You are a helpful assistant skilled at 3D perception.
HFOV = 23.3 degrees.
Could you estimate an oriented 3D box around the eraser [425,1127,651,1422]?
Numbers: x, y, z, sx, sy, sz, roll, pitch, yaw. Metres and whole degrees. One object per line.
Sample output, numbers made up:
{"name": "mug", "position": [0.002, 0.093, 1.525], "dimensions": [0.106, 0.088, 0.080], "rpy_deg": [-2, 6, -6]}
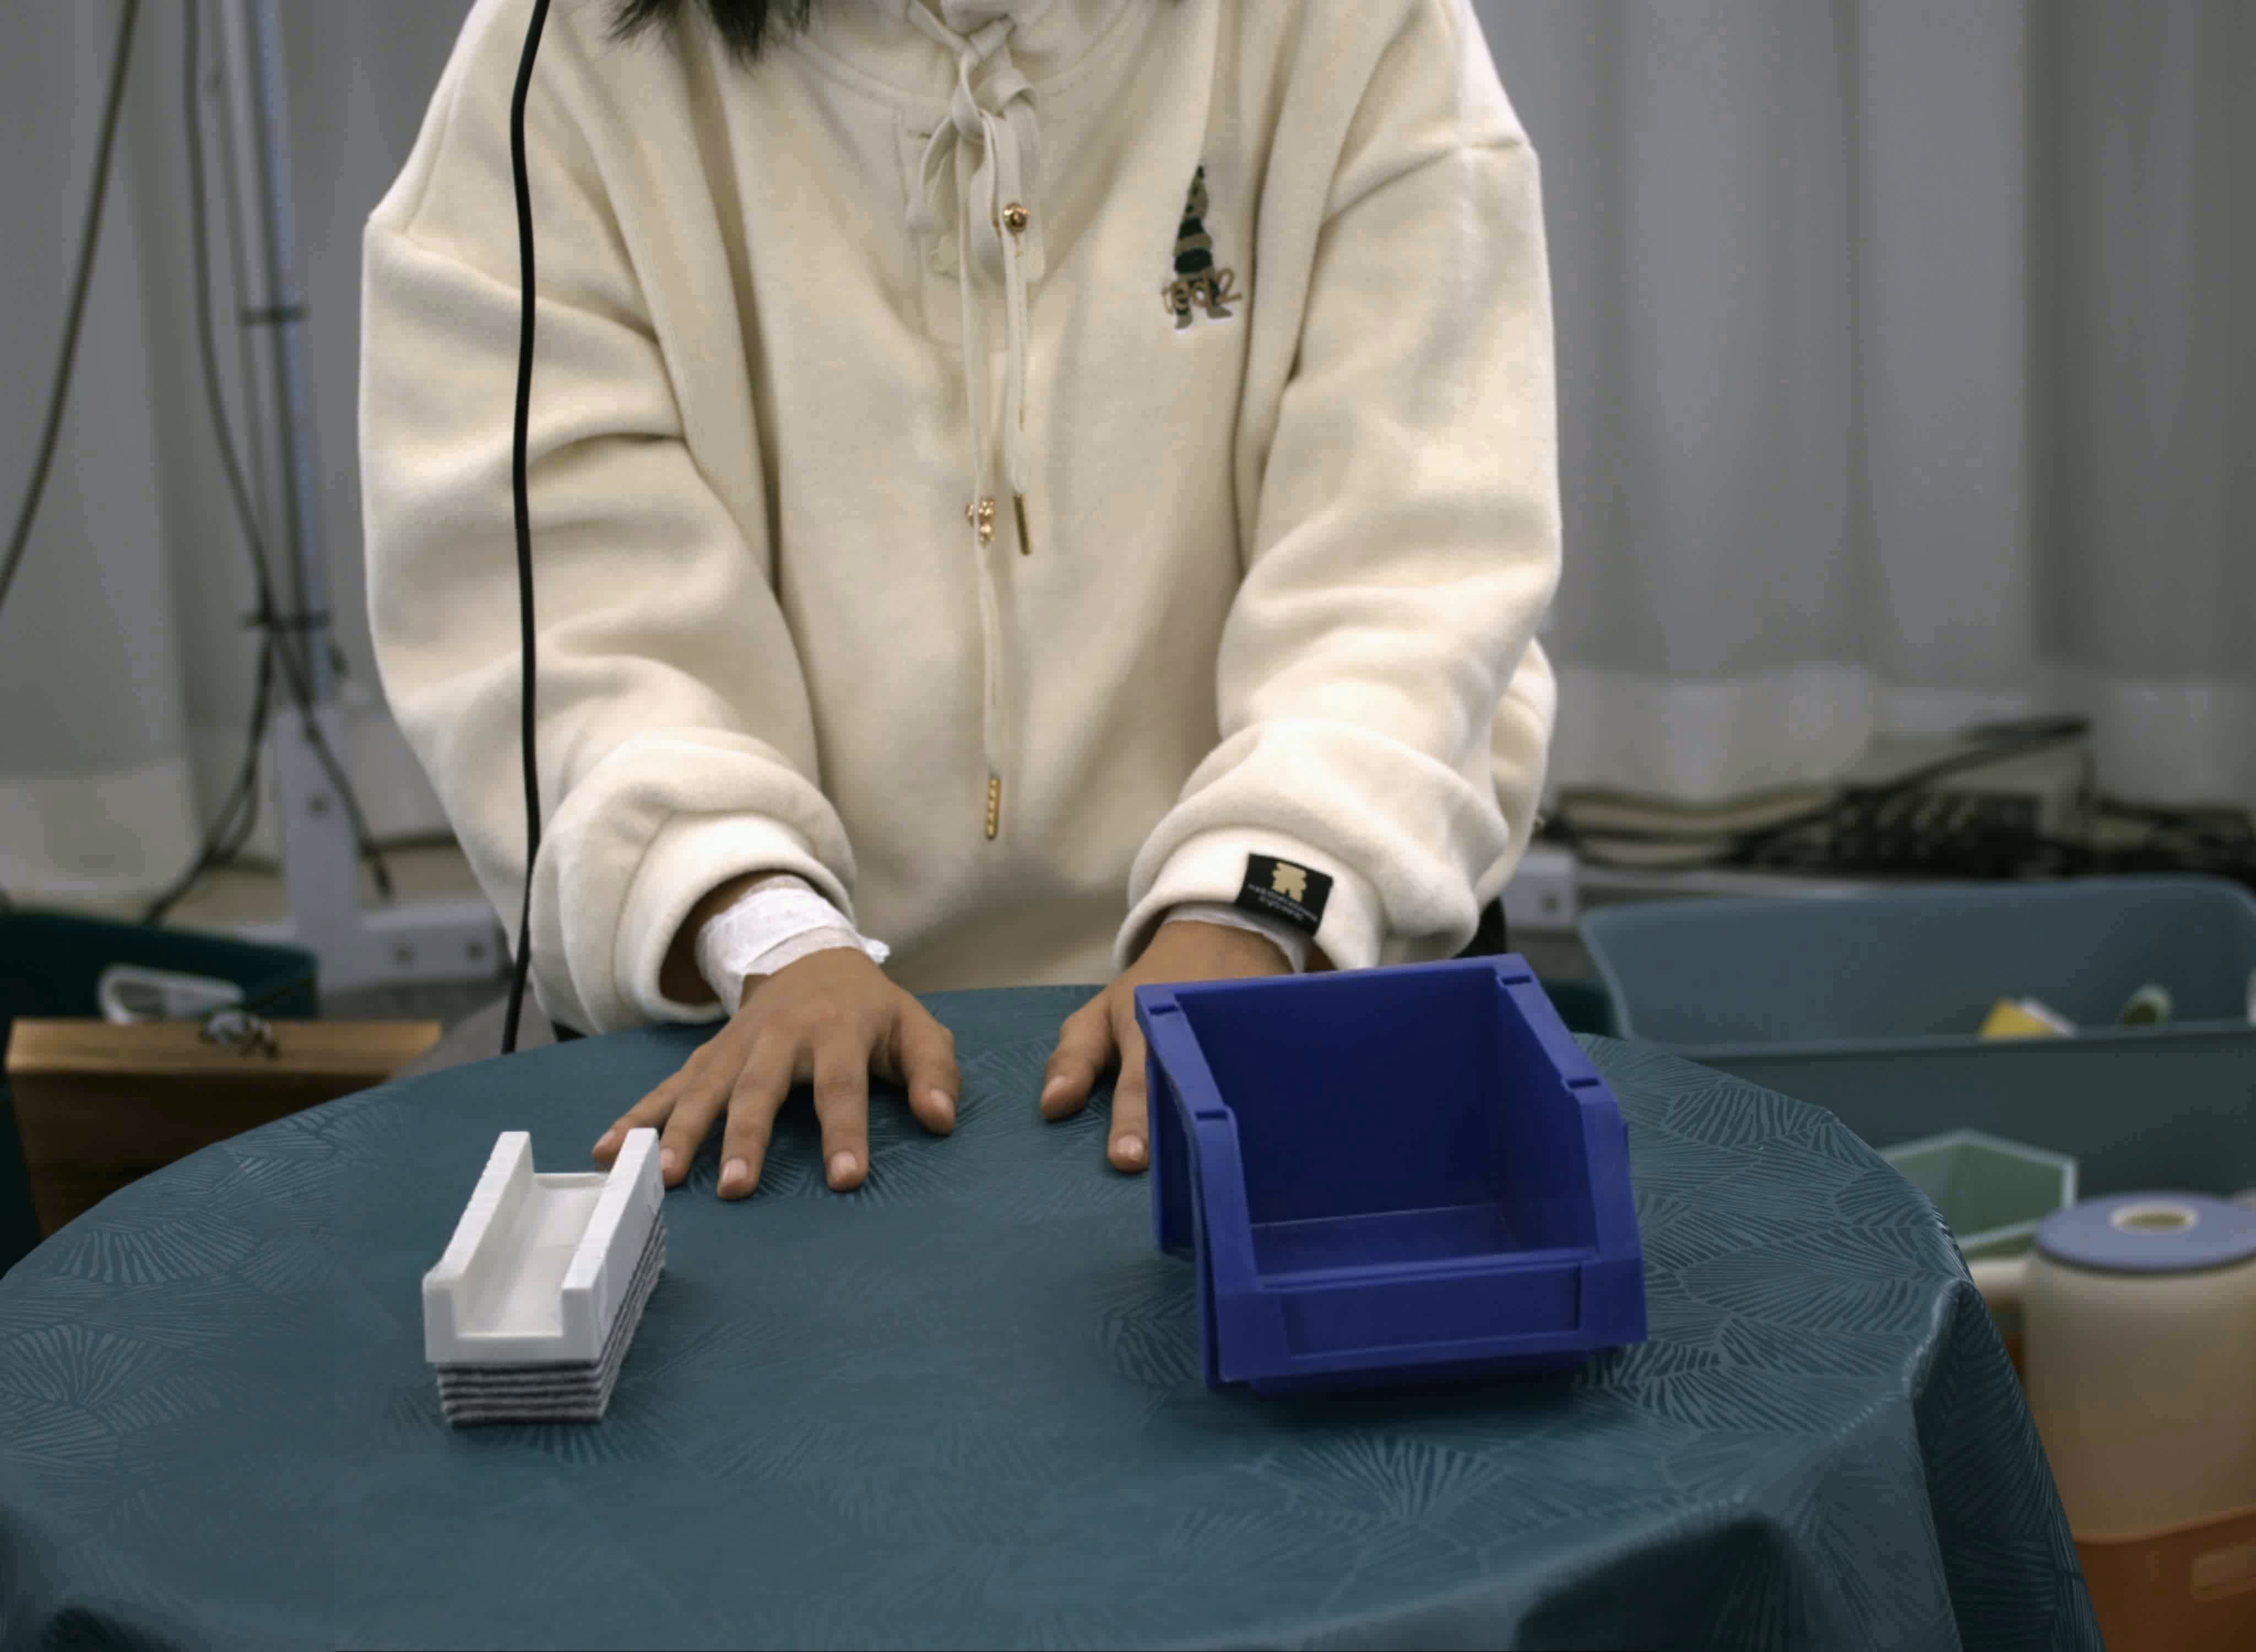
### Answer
{"name": "eraser", "position": [-0.171, 0.130, 1.599], "dimensions": [0.049, 0.046, 0.135], "rpy_deg": [-4, 16, 2]}

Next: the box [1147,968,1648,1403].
{"name": "box", "position": [0.077, 0.106, 1.574], "dimensions": [0.124, 0.081, 0.180], "rpy_deg": [-4, 13, -4]}
